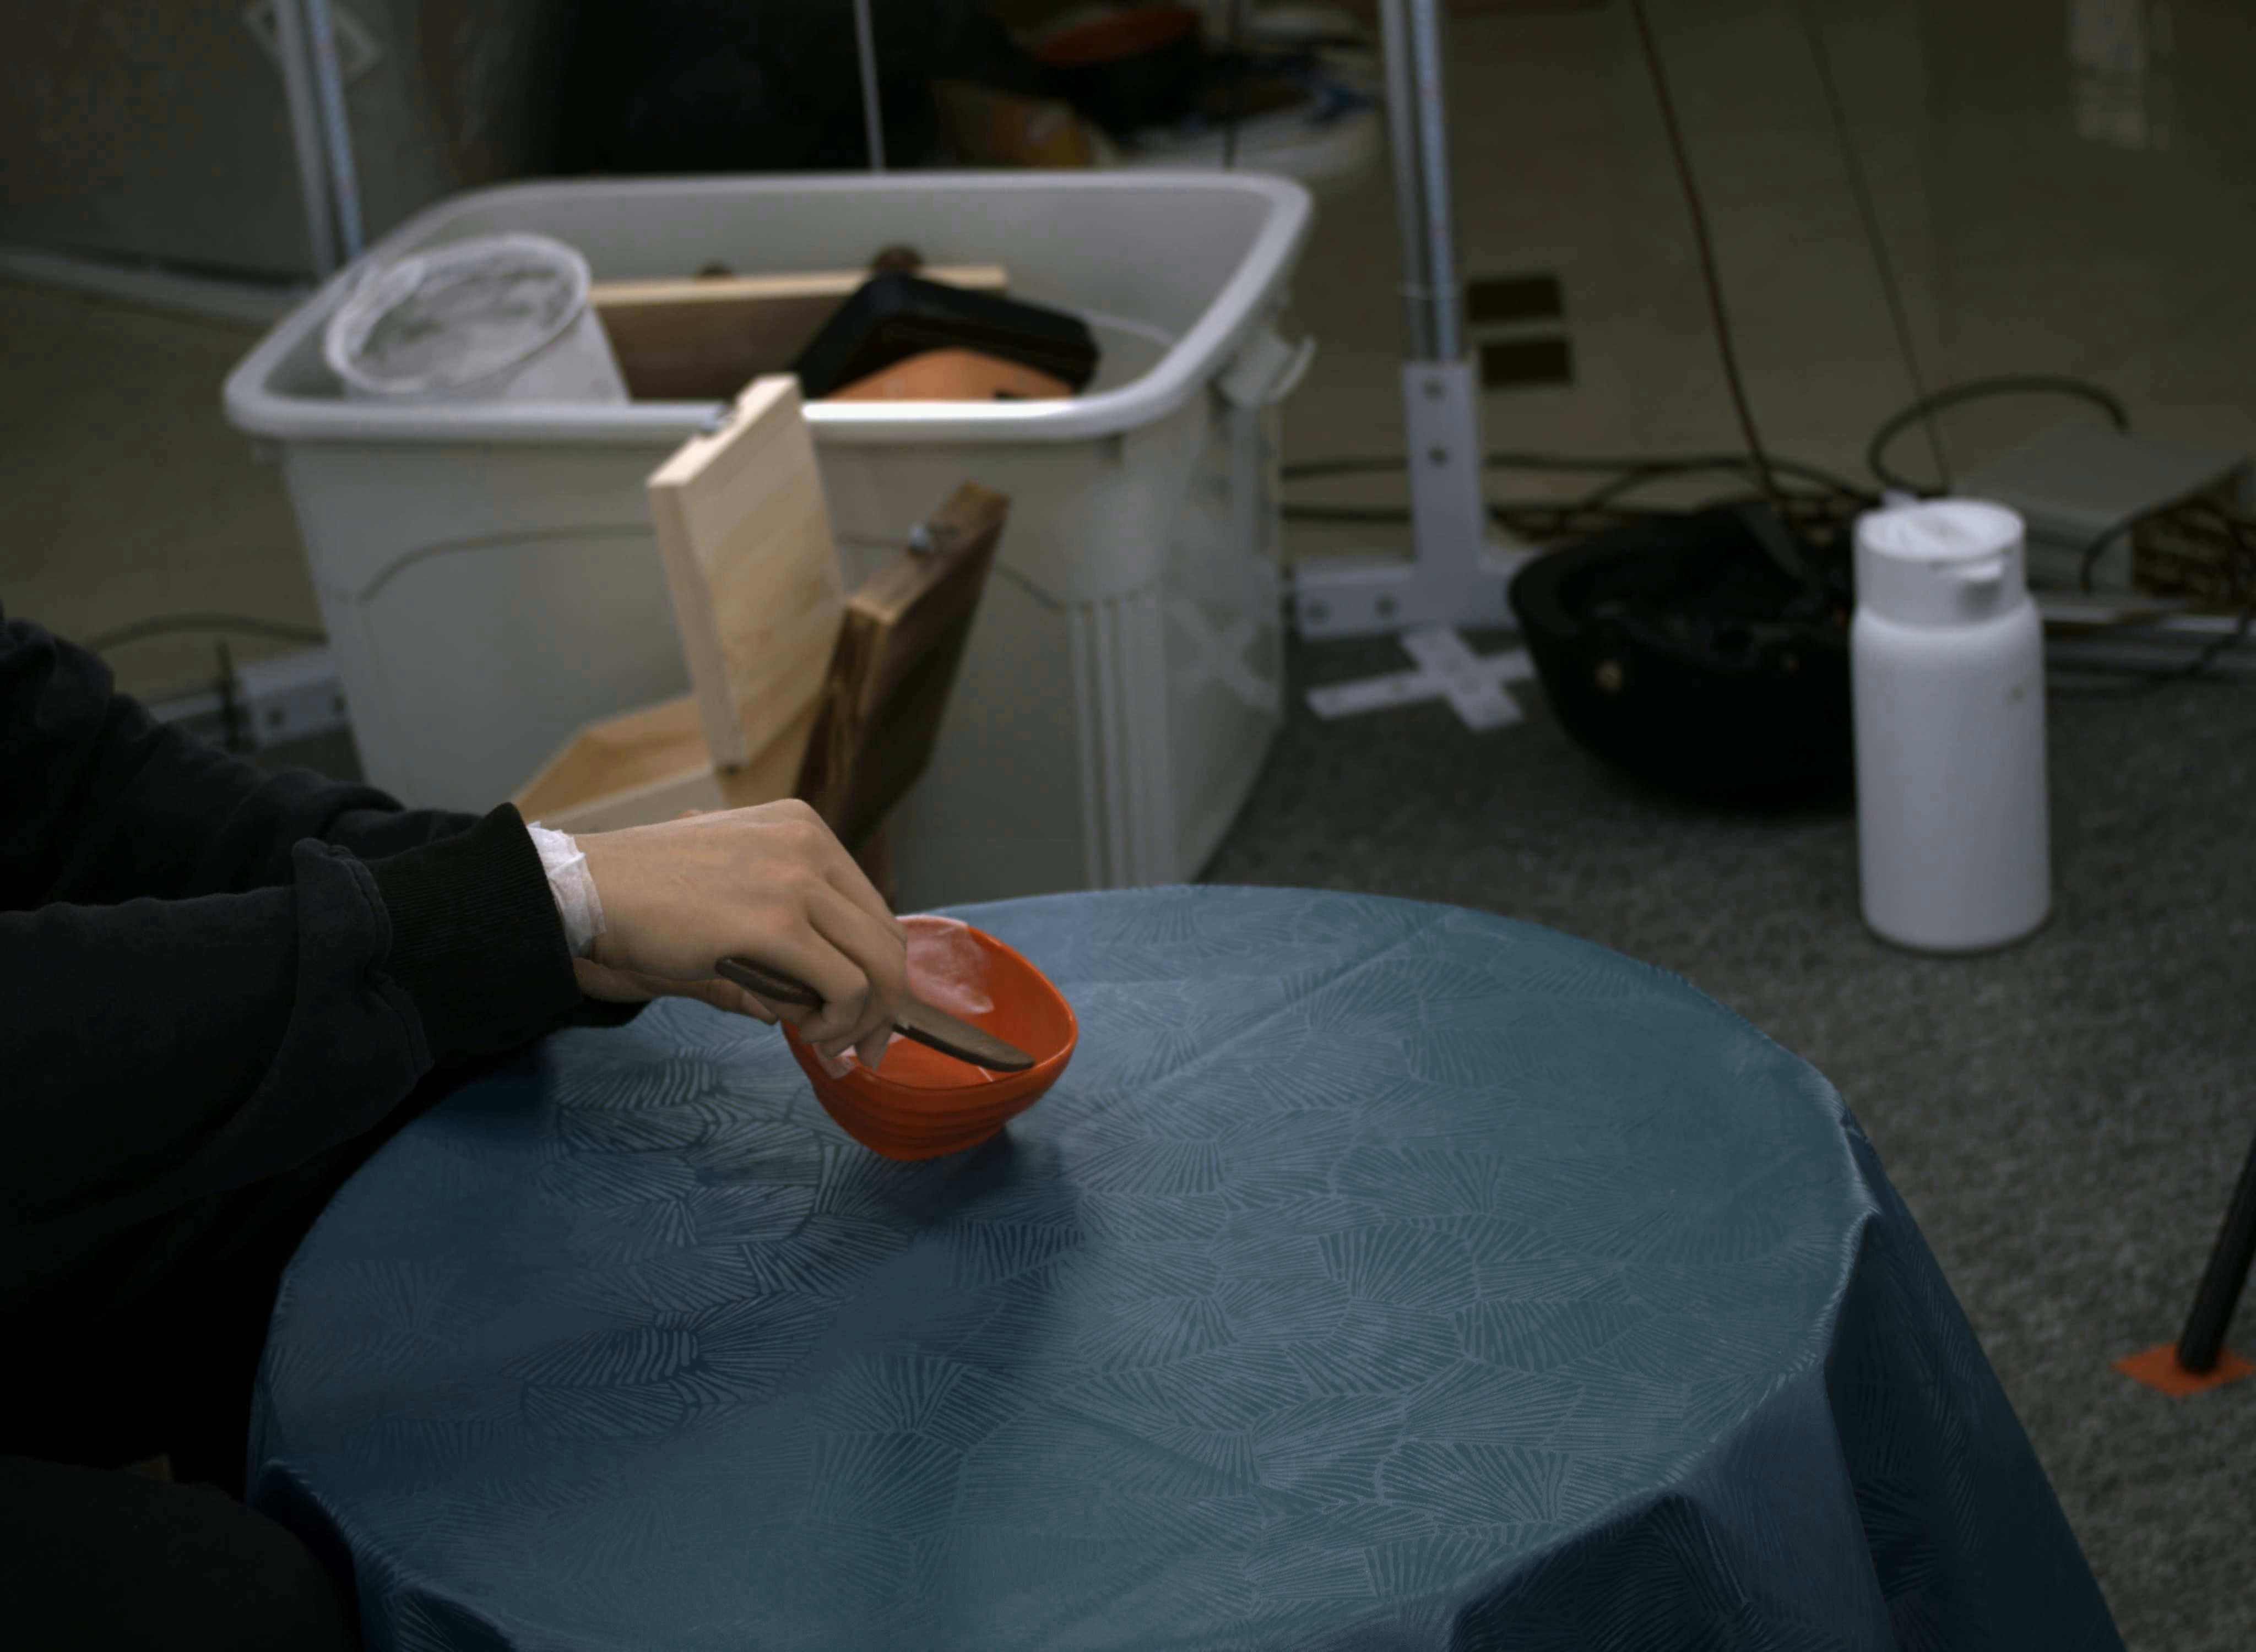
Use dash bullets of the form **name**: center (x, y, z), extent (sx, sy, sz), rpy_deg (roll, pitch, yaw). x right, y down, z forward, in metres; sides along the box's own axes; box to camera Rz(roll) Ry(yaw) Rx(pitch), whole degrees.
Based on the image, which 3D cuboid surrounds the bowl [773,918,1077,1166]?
- **bowl**: center (-0.082, 0.090, 2.198), extent (0.119, 0.052, 0.117), rpy_deg (9, 35, -7)

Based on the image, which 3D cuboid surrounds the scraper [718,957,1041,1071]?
- **scraper**: center (-0.099, 0.067, 2.084), extent (0.075, 0.011, 0.212), rpy_deg (22, 0, 22)
